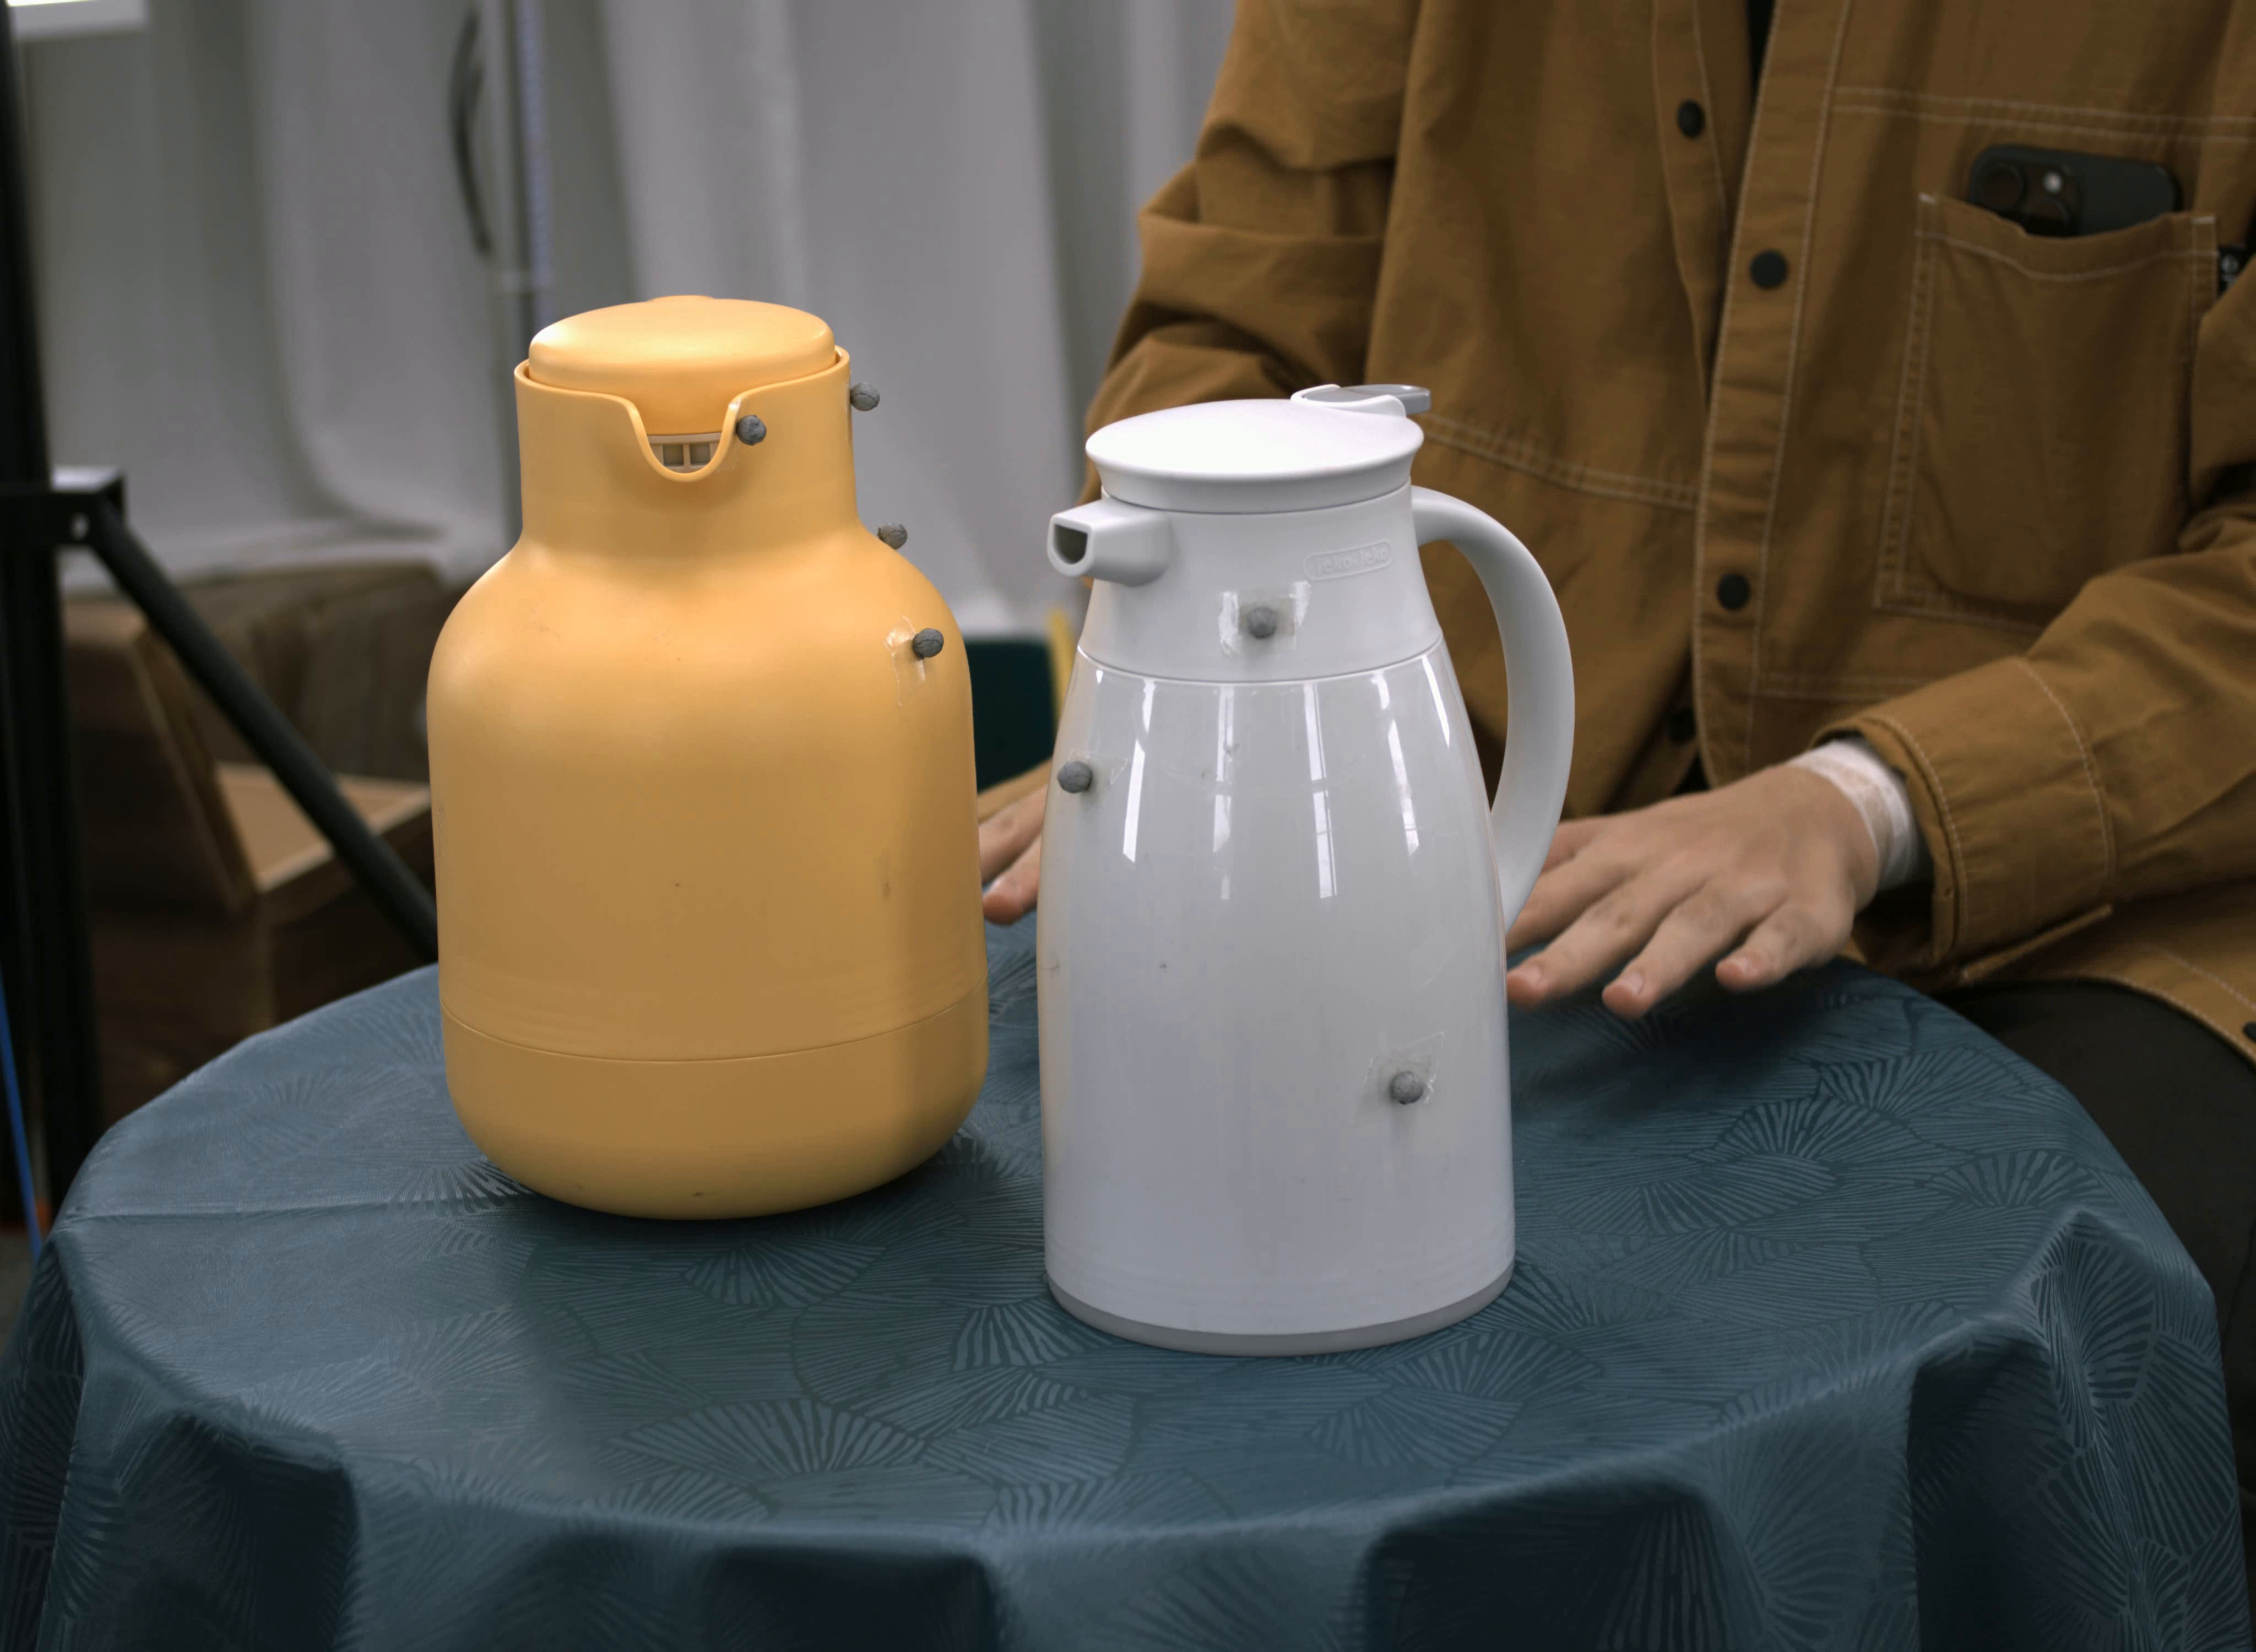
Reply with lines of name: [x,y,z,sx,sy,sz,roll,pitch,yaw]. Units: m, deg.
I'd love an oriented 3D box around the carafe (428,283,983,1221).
carafe: [-0.125,-0.030,1.587,0.162,0.260,0.203,0,16,-2]

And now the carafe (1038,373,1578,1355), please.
carafe: [0.054,0.002,1.464,0.164,0.248,0.135,-12,18,-33]
